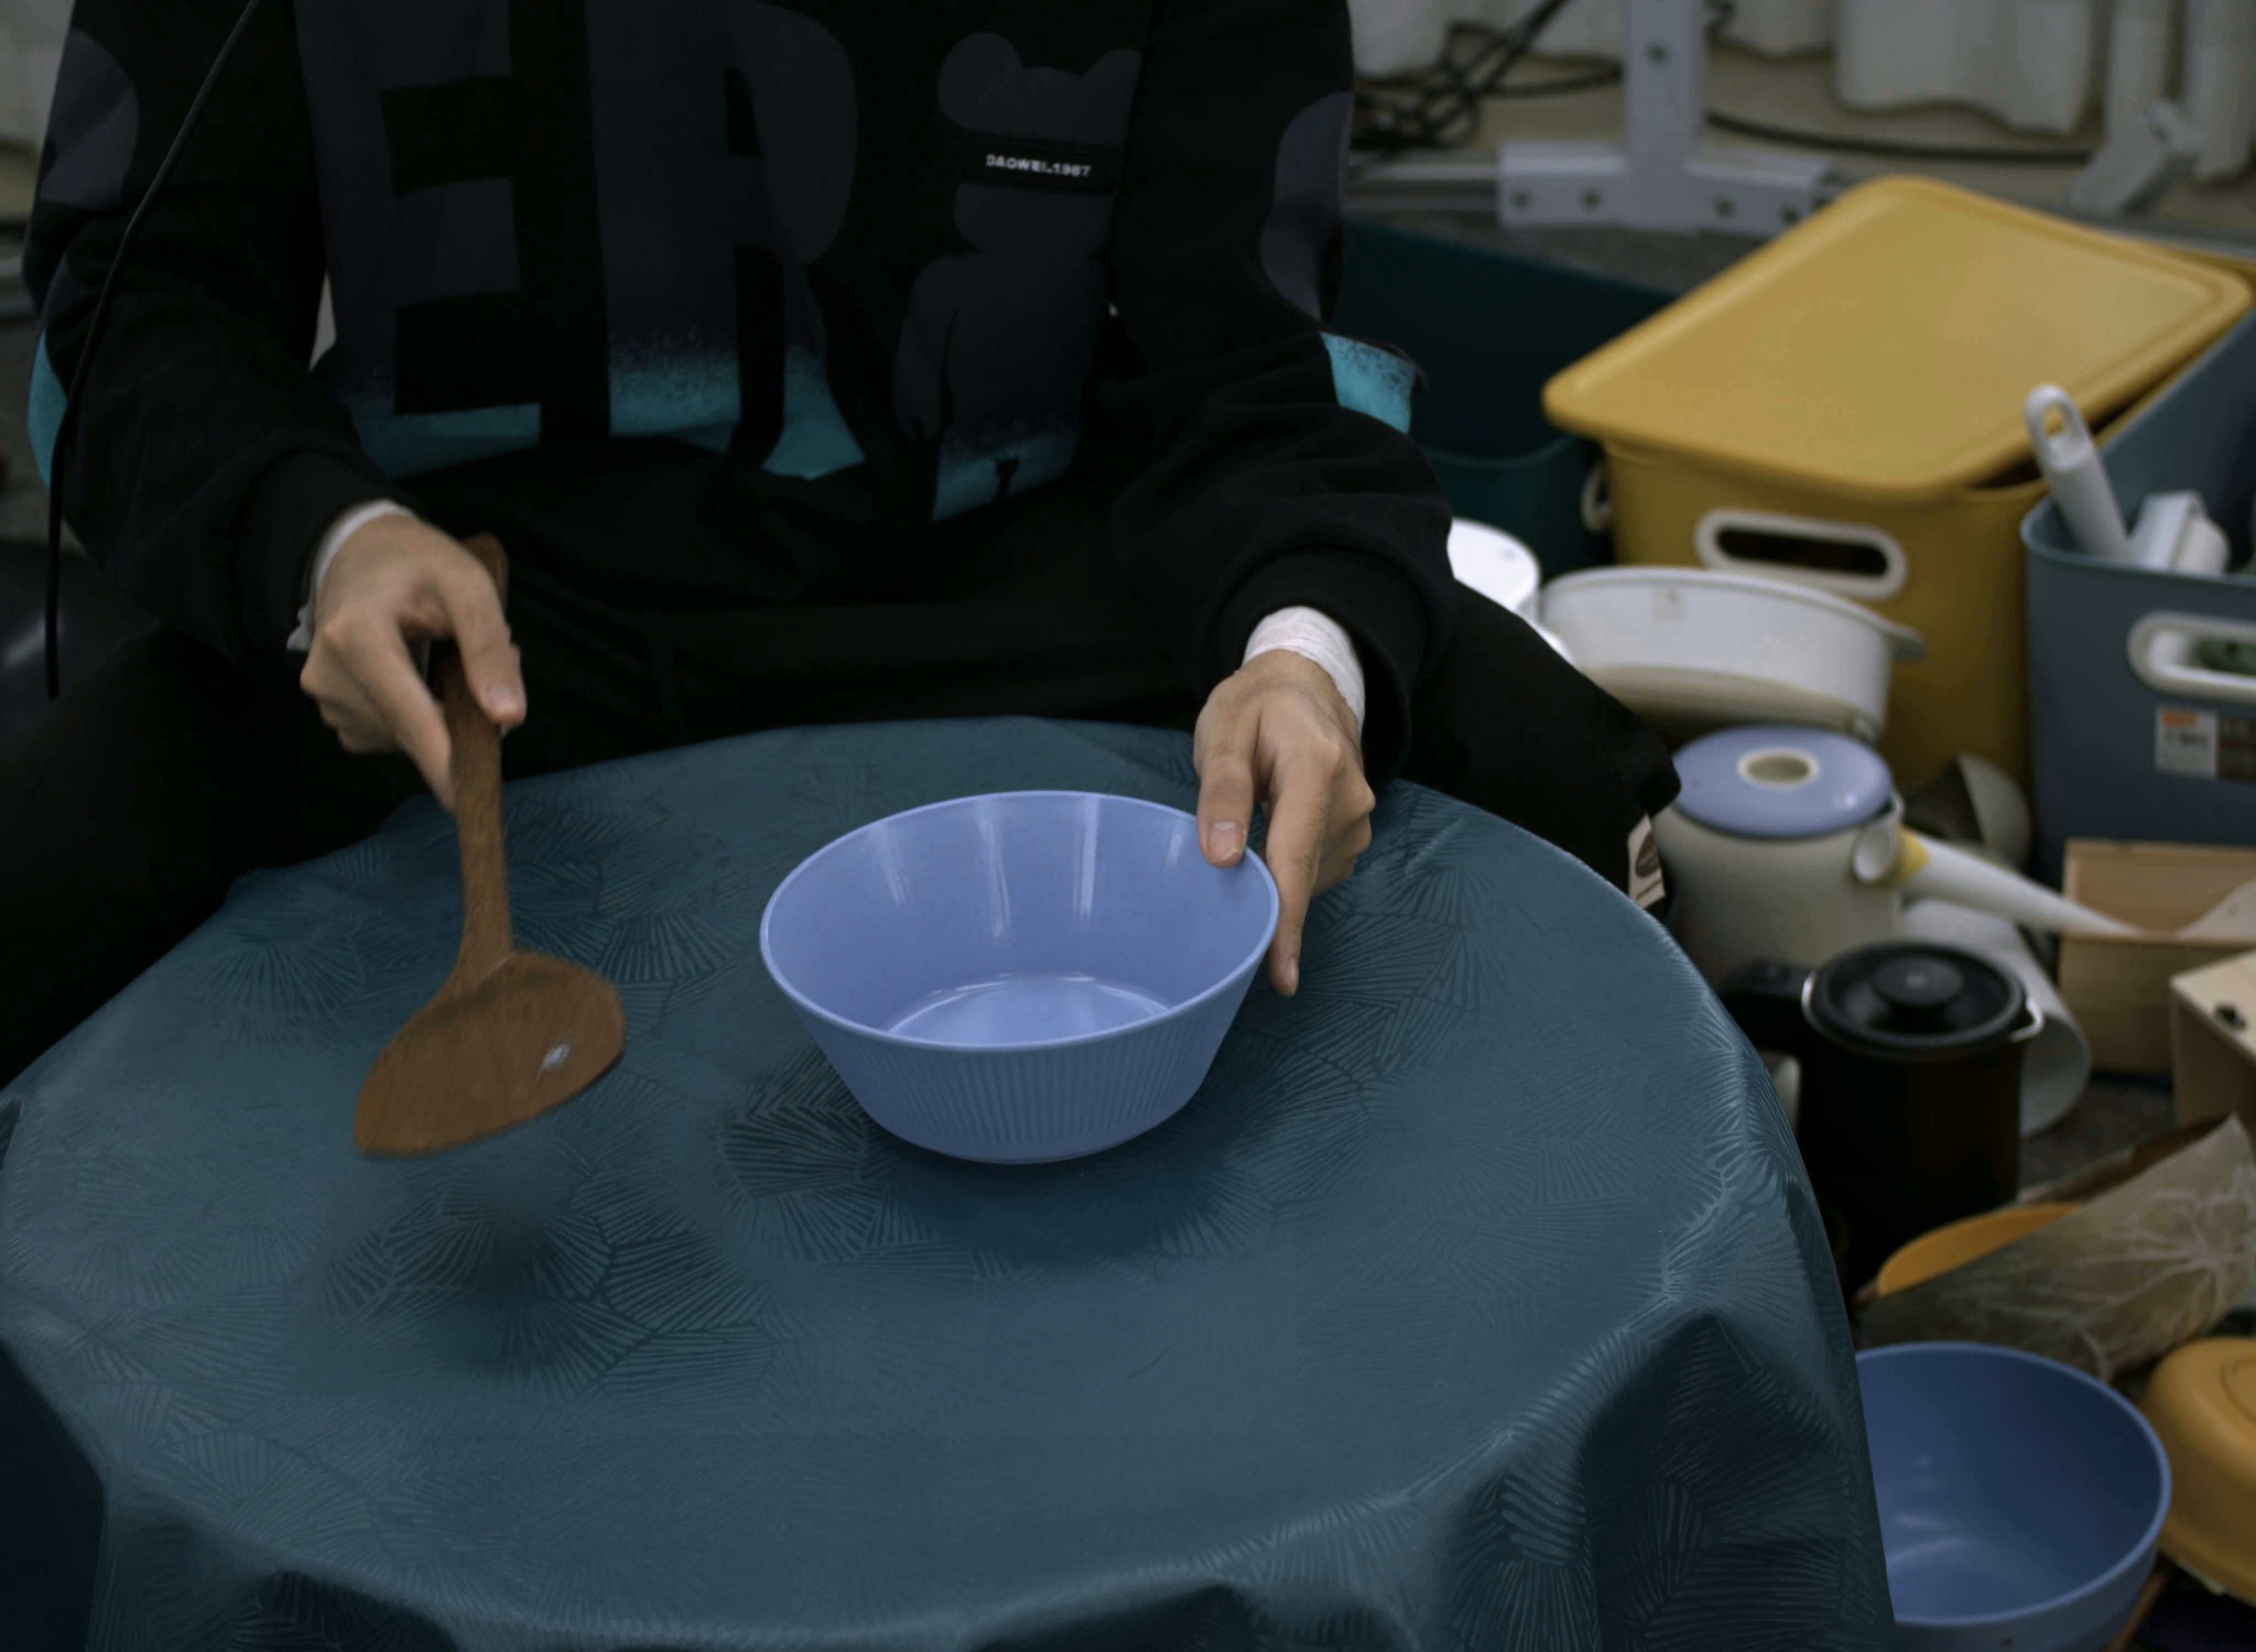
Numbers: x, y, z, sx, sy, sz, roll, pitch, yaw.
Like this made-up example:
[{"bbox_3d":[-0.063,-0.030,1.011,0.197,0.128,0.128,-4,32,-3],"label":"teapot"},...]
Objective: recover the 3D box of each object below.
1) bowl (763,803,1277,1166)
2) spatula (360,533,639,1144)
[{"bbox_3d":[-0.035,0.060,1.910,0.175,0.069,0.178,-2,26,2],"label":"bowl"},{"bbox_3d":[-0.222,-0.007,1.944,0.095,0.015,0.392,-20,33,4],"label":"spatula"}]
